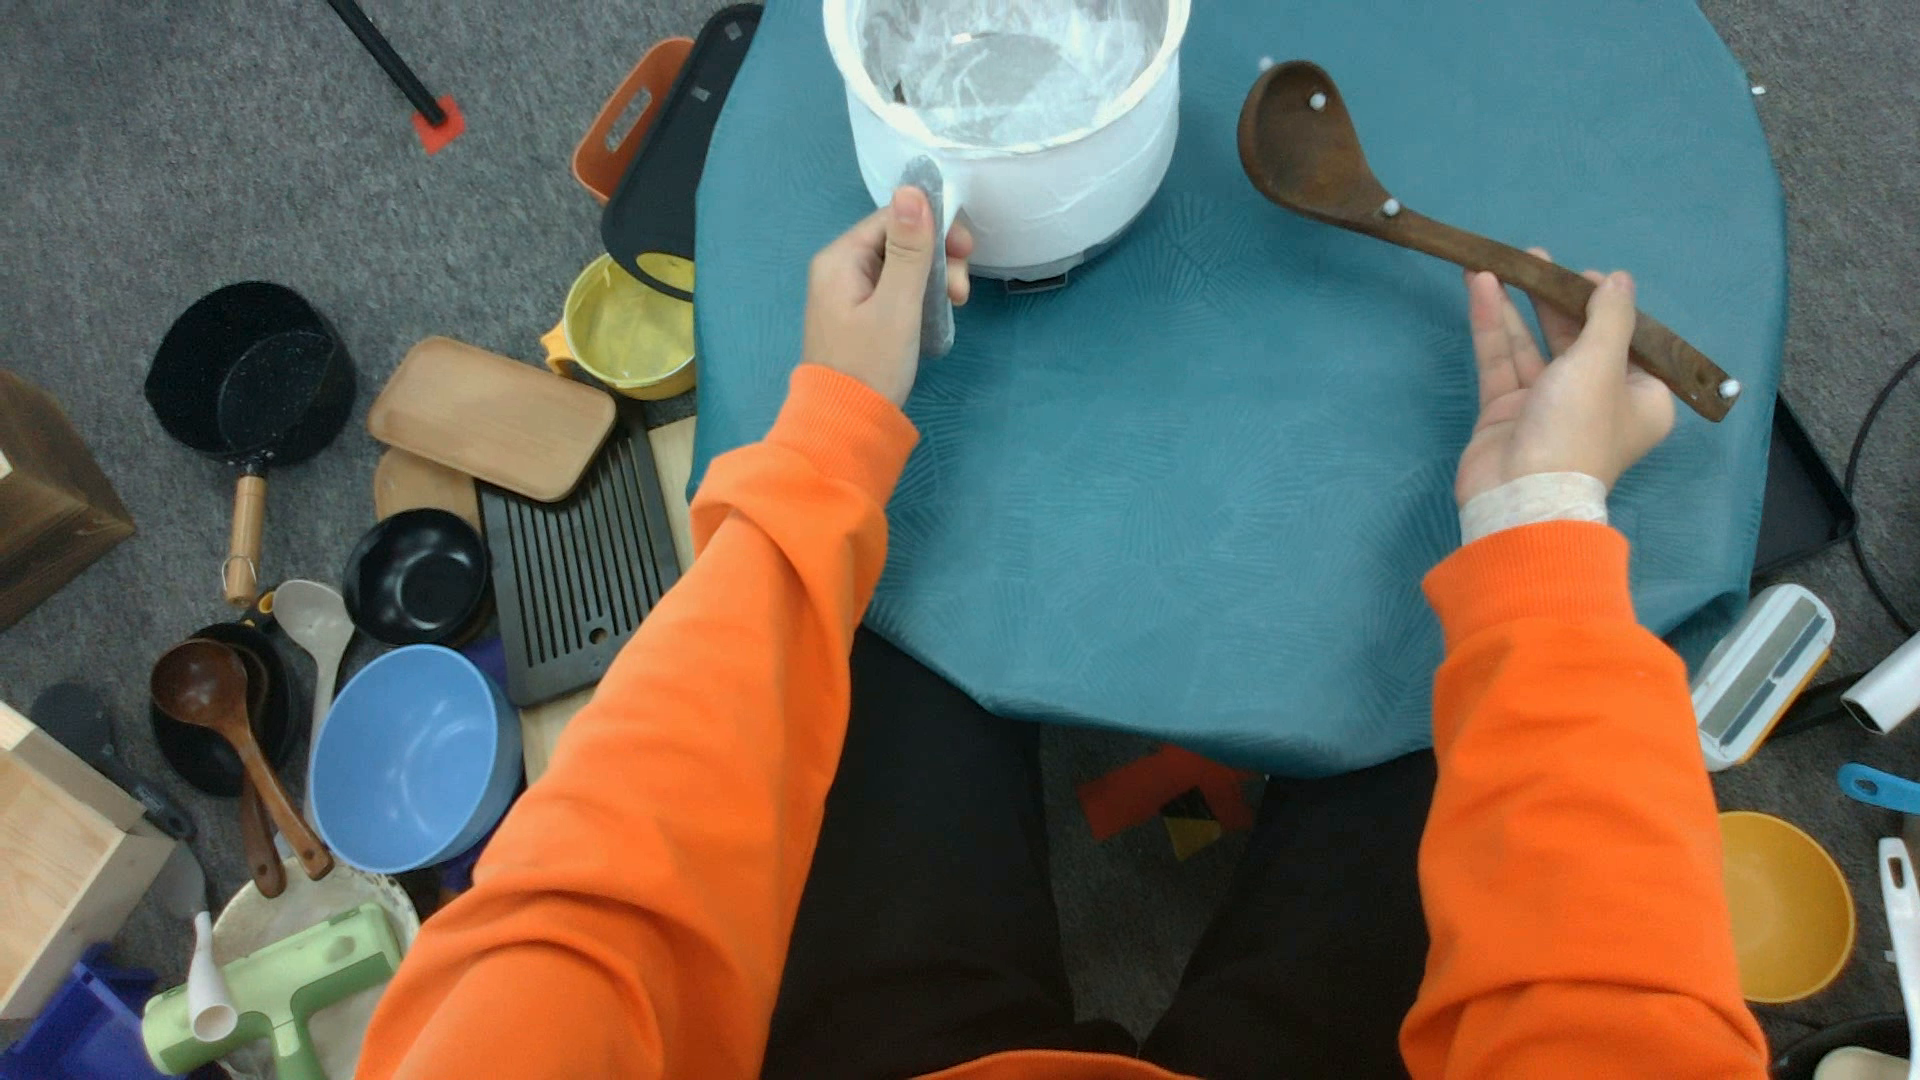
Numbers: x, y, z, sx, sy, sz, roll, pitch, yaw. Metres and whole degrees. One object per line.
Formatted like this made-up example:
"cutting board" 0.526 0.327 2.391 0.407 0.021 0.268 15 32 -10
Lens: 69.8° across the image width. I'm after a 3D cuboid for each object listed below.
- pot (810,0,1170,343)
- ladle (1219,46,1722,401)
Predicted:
"pot" 0.009 -0.222 0.718 0.178 0.136 0.234 18 73 11
"ladle" 0.250 -0.159 0.676 0.274 0.071 0.076 34 72 21
